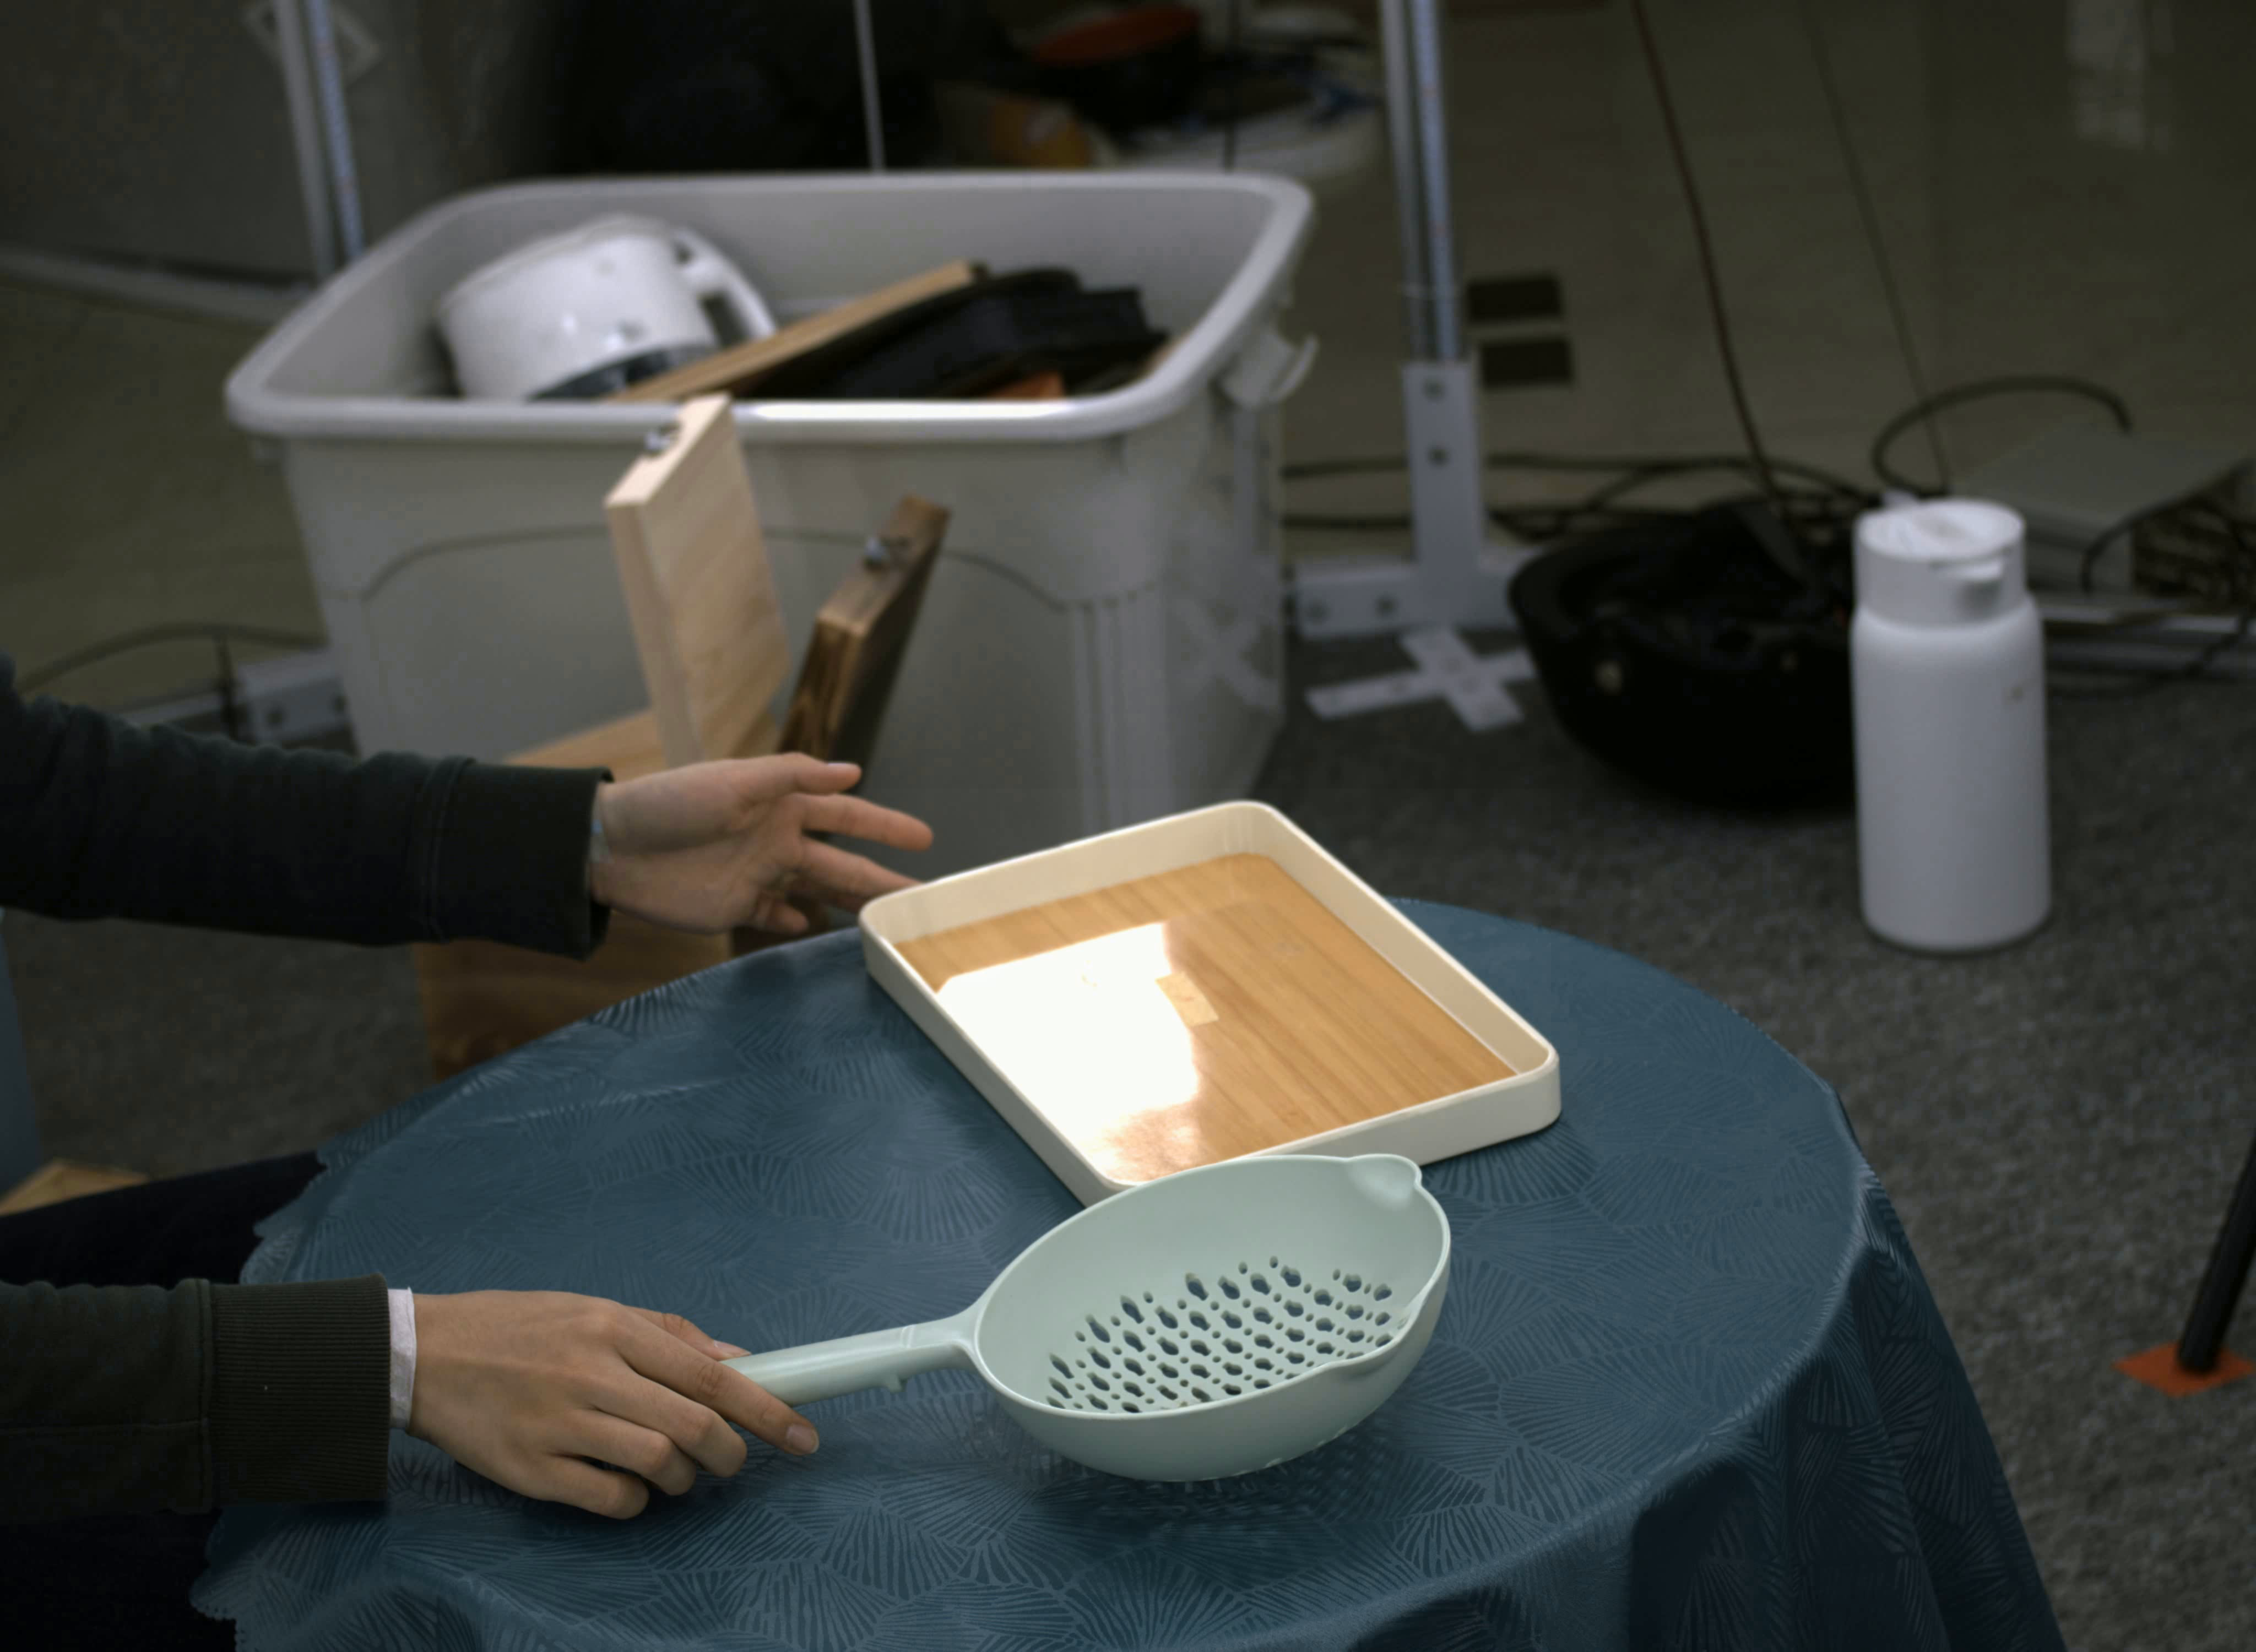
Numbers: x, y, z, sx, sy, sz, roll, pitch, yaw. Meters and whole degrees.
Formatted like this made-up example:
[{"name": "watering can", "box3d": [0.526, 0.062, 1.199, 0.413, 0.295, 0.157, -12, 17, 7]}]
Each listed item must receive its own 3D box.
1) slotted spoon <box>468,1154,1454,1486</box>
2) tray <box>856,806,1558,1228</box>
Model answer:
[{"name": "slotted spoon", "box3d": [-0.062, 0.187, 1.988, 0.358, 0.076, 0.167, -3, 26, 7]}, {"name": "tray", "box3d": [0.026, 0.074, 2.254, 0.191, 0.028, 0.296, -15, 26, -18]}]
